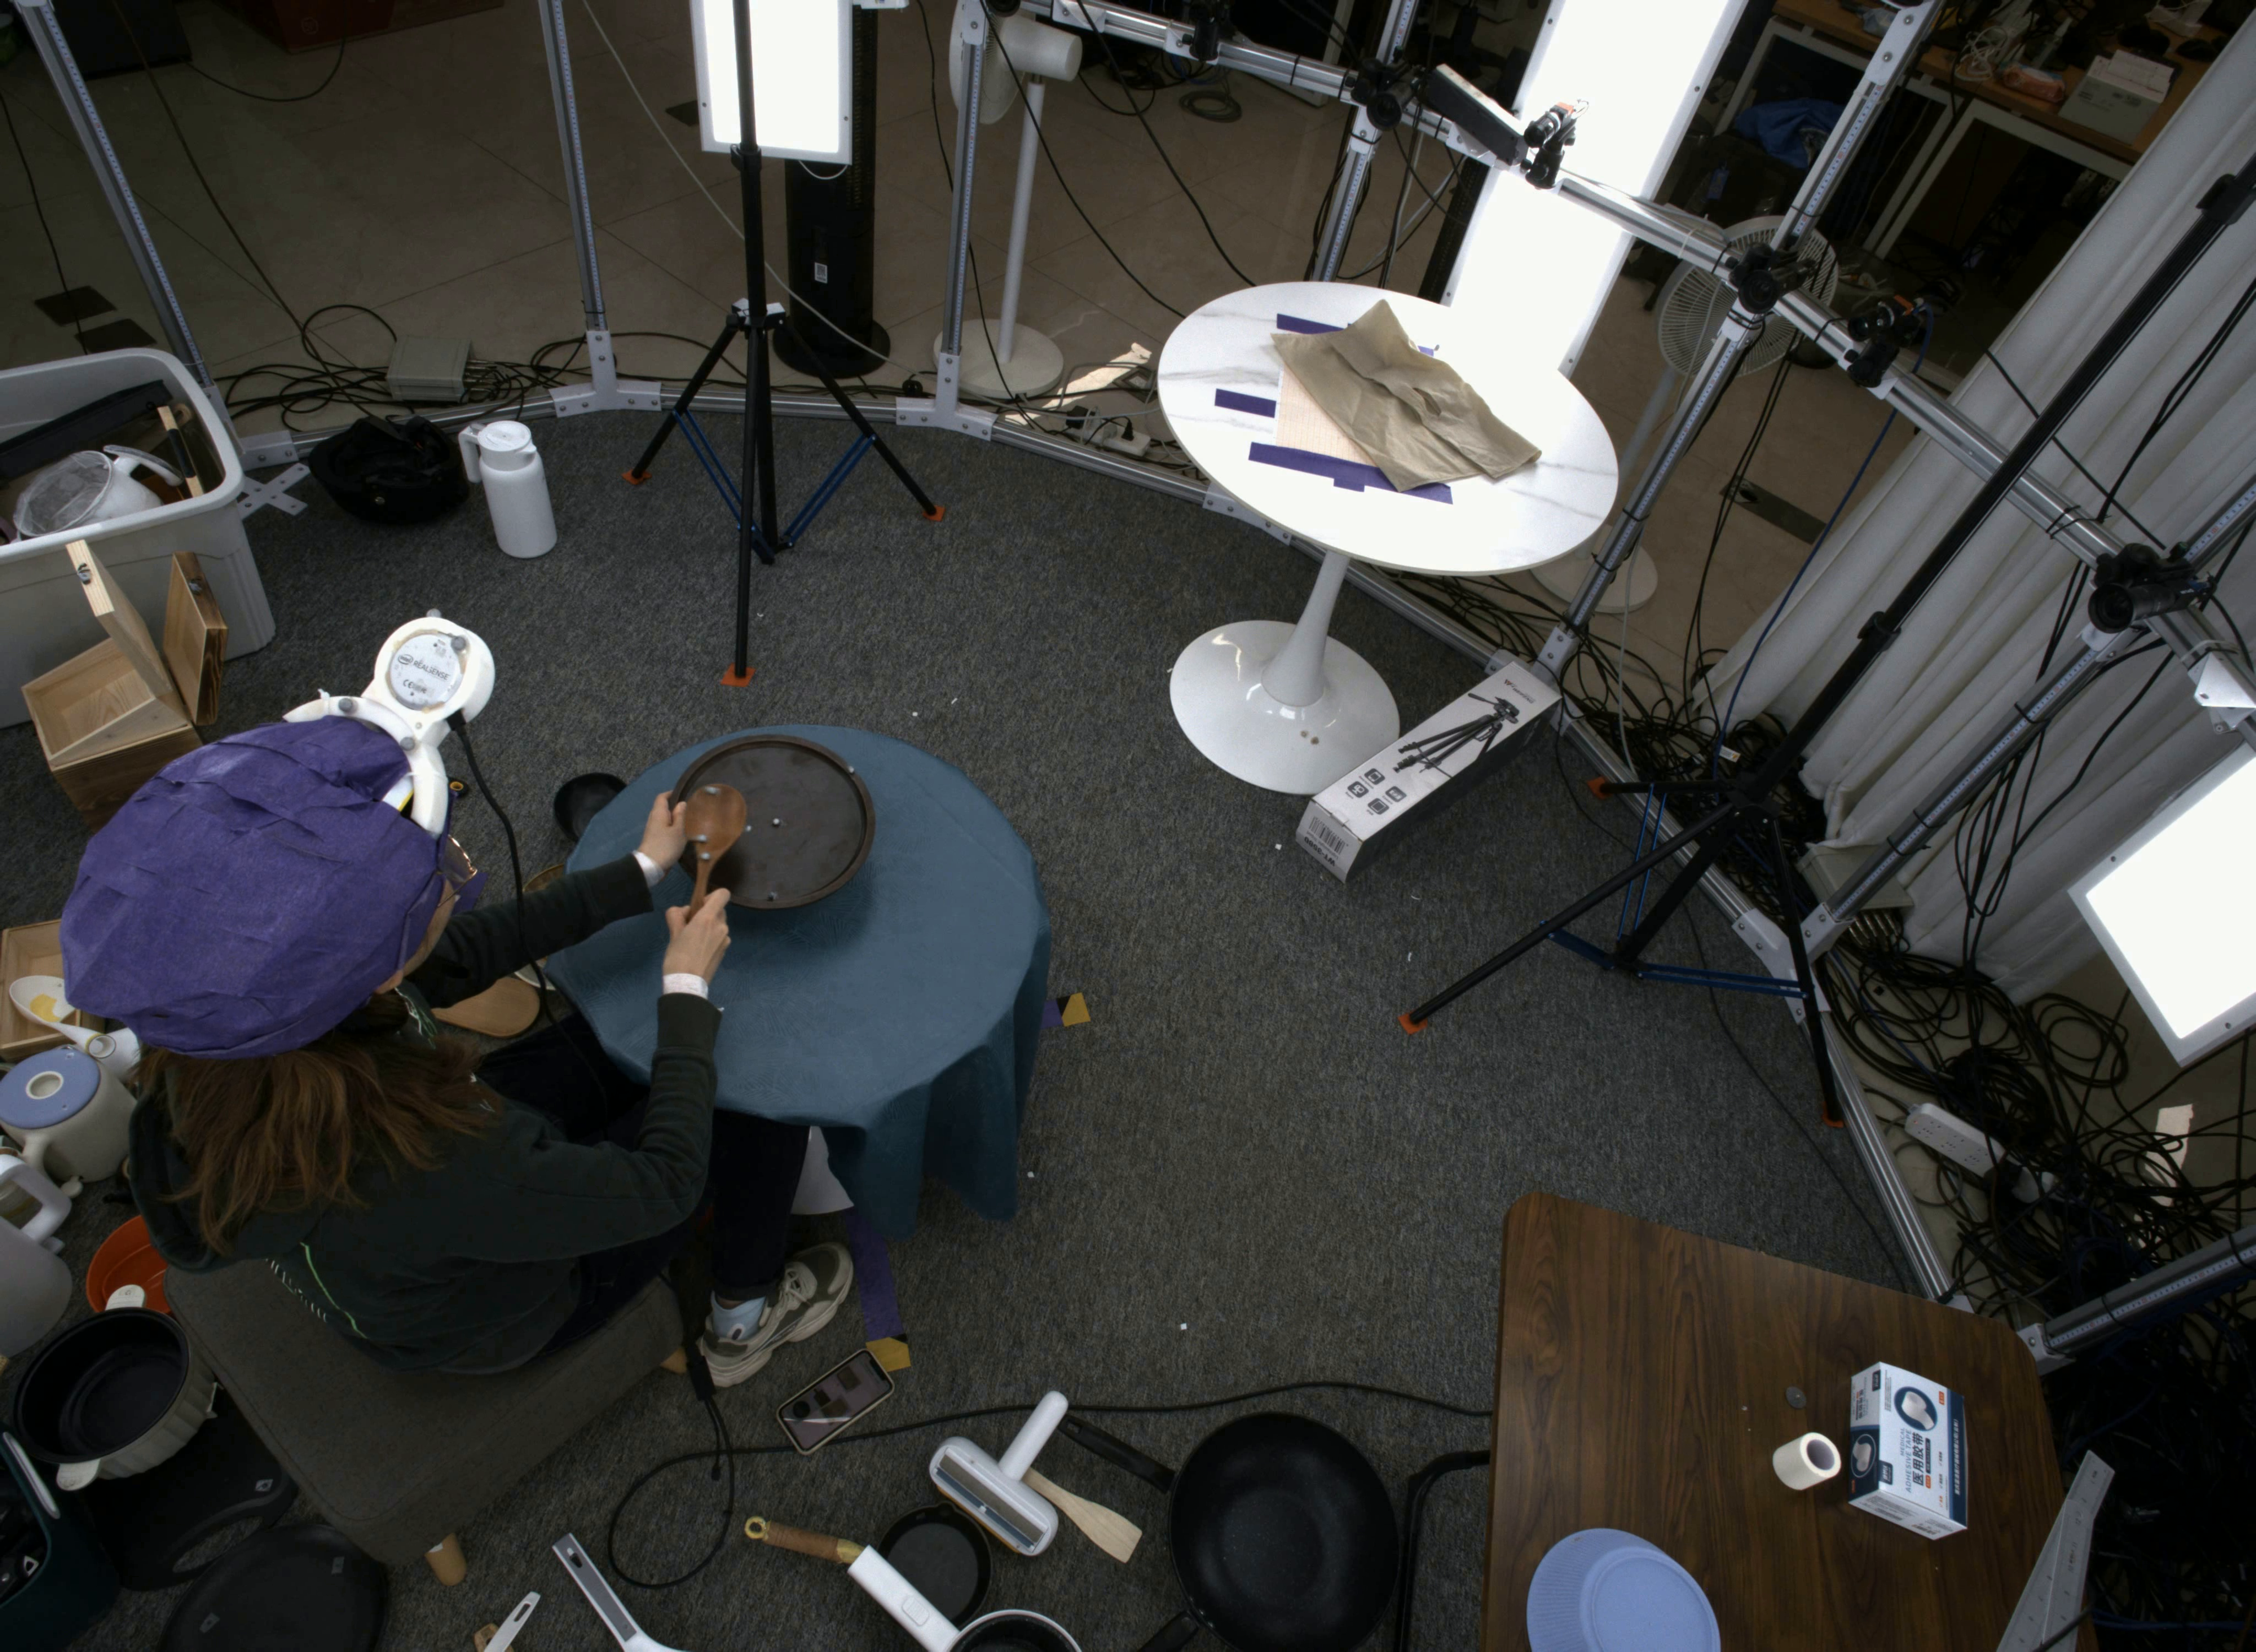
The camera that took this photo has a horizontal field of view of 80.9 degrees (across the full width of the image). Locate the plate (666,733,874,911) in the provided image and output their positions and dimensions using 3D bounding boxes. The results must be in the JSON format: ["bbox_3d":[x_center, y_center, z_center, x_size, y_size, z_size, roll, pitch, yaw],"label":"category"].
[{"bbox_3d":[-0.444,-0.007,1.611,0.255,0.029,0.251,9,57,-12],"label":"plate"}]

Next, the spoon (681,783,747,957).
[{"bbox_3d":[-0.489,0.047,1.495,0.075,0.017,0.213,7,64,-10],"label":"spoon"}]
